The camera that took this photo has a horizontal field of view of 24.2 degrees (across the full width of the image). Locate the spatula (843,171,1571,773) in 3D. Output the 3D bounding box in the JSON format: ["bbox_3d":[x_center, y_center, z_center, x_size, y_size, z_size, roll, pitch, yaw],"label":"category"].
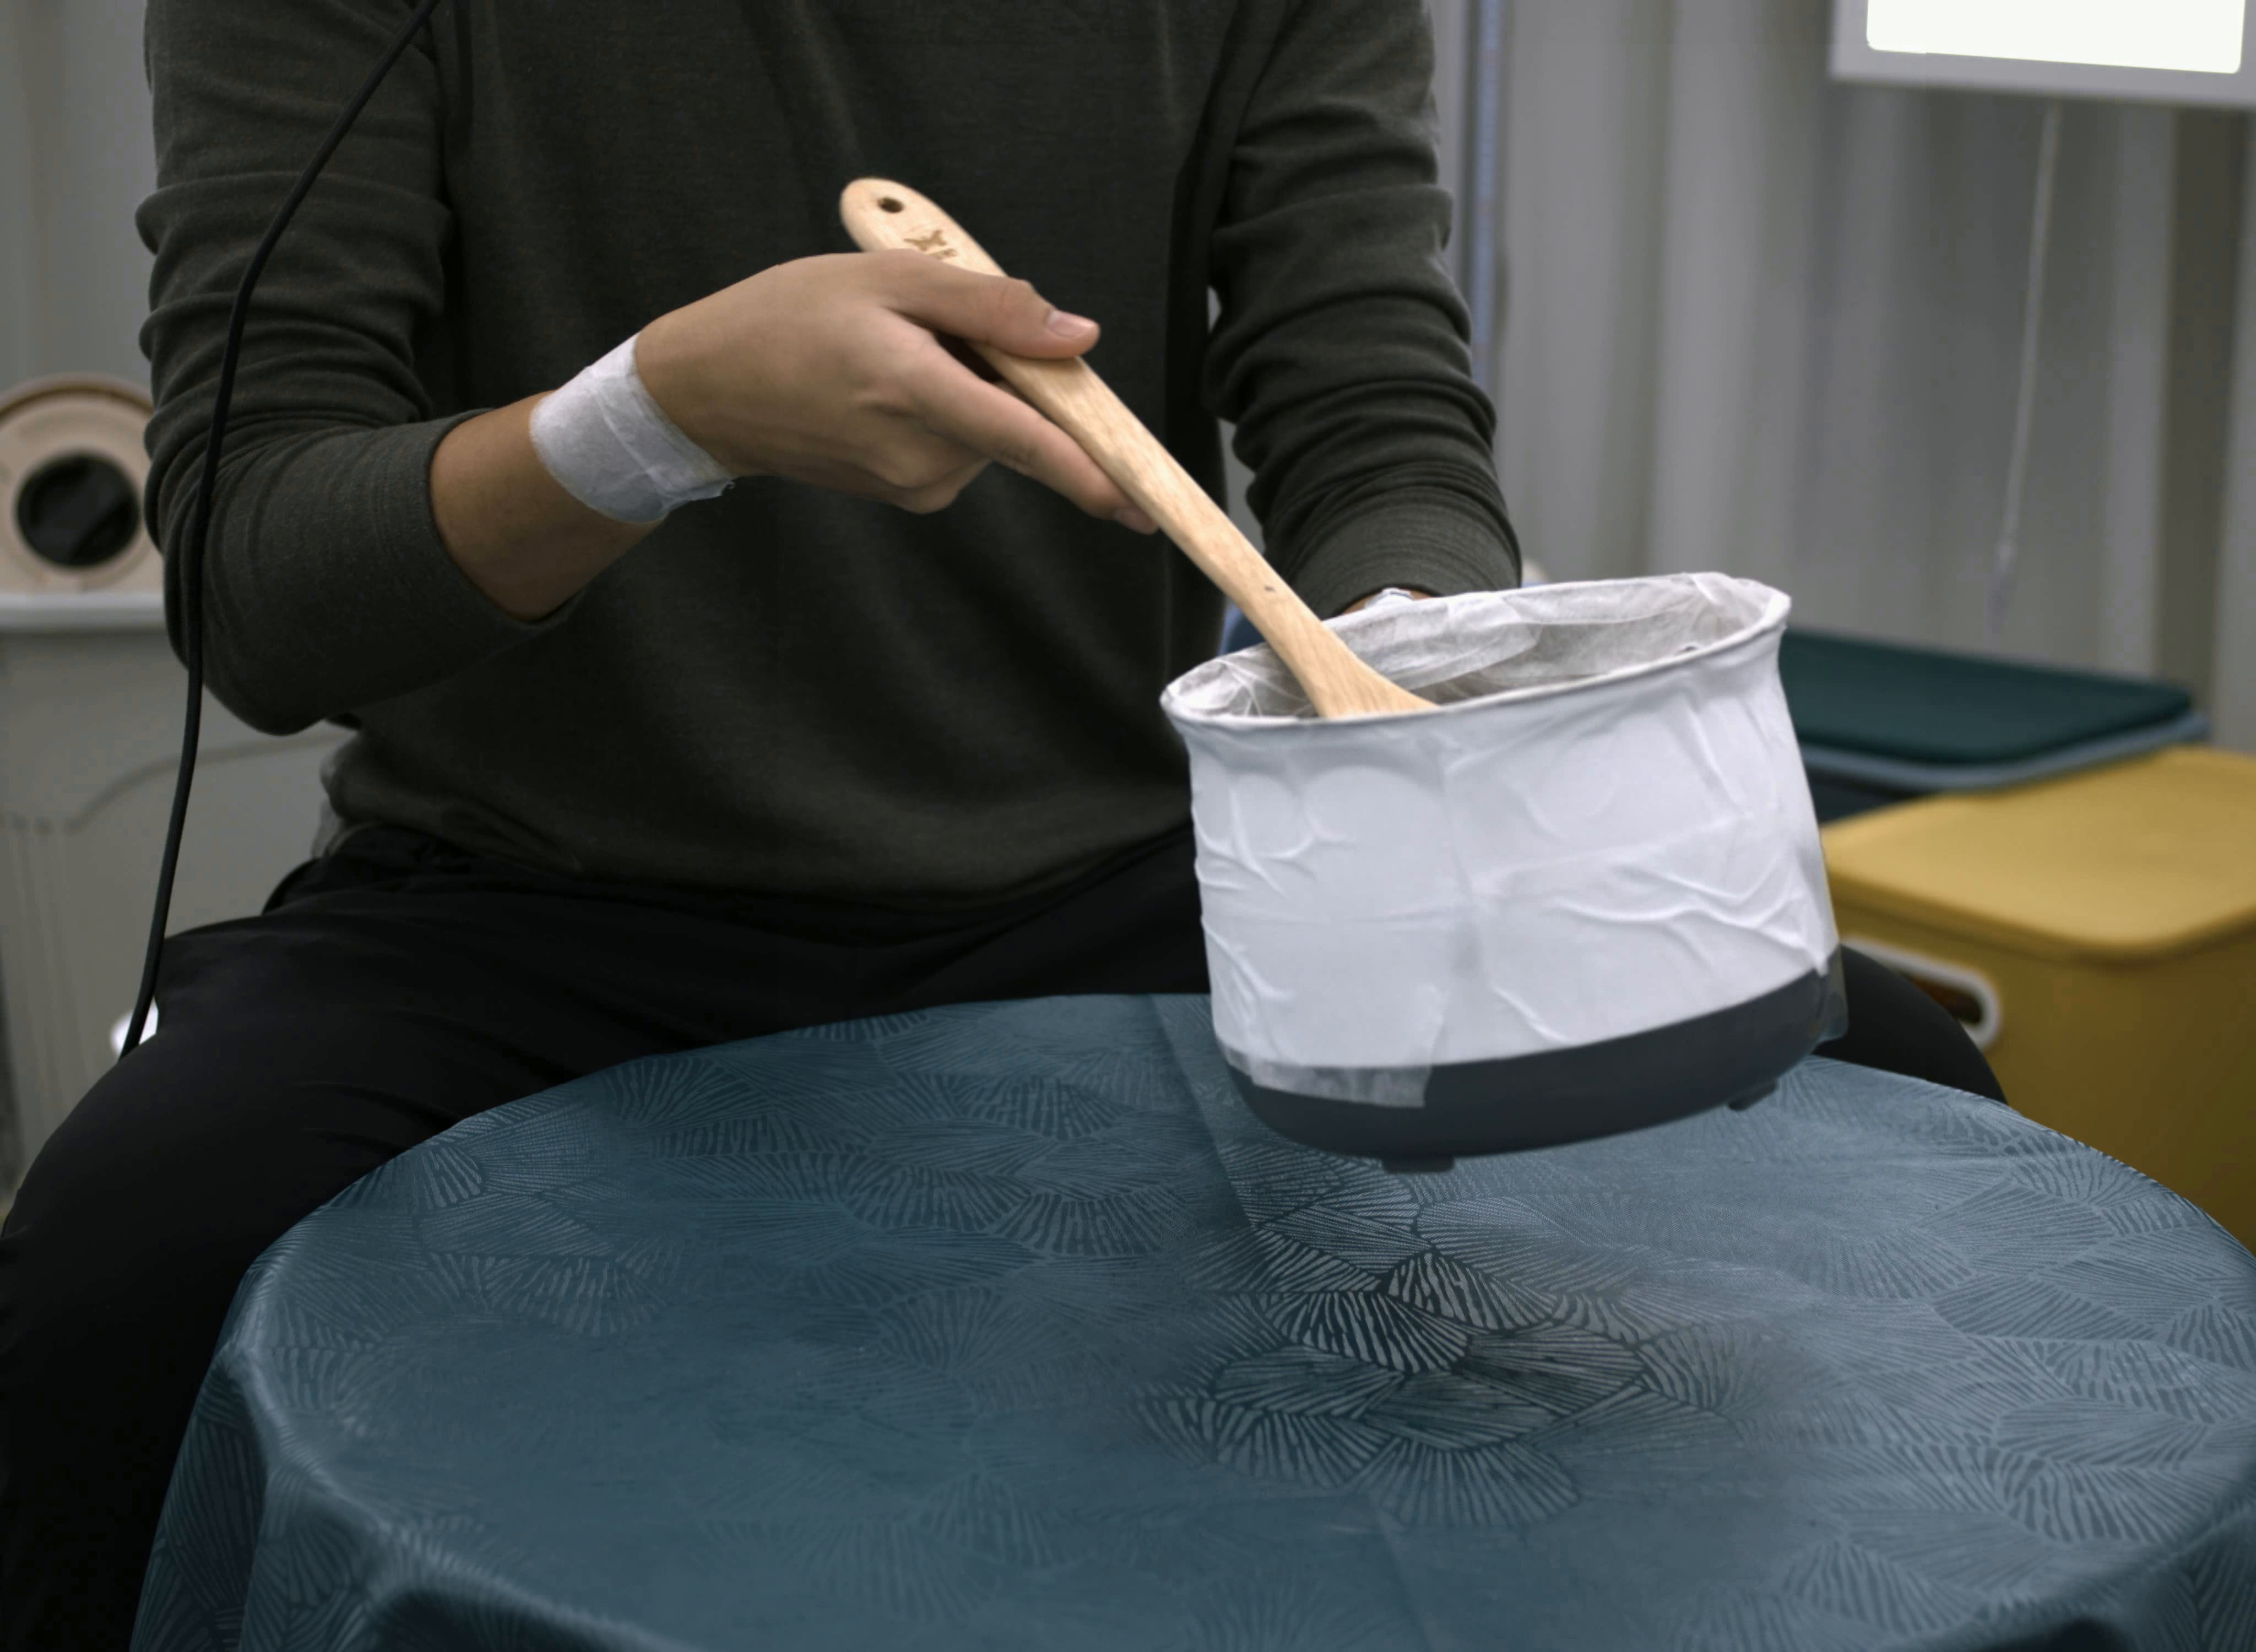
[{"bbox_3d":[0.018,-0.085,1.532,0.096,0.018,0.386,-17,49,-32],"label":"spatula"}]

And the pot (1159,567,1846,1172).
[{"bbox_3d":[0.099,0.006,1.486,0.179,0.137,0.232,-11,12,-11],"label":"pot"}]
